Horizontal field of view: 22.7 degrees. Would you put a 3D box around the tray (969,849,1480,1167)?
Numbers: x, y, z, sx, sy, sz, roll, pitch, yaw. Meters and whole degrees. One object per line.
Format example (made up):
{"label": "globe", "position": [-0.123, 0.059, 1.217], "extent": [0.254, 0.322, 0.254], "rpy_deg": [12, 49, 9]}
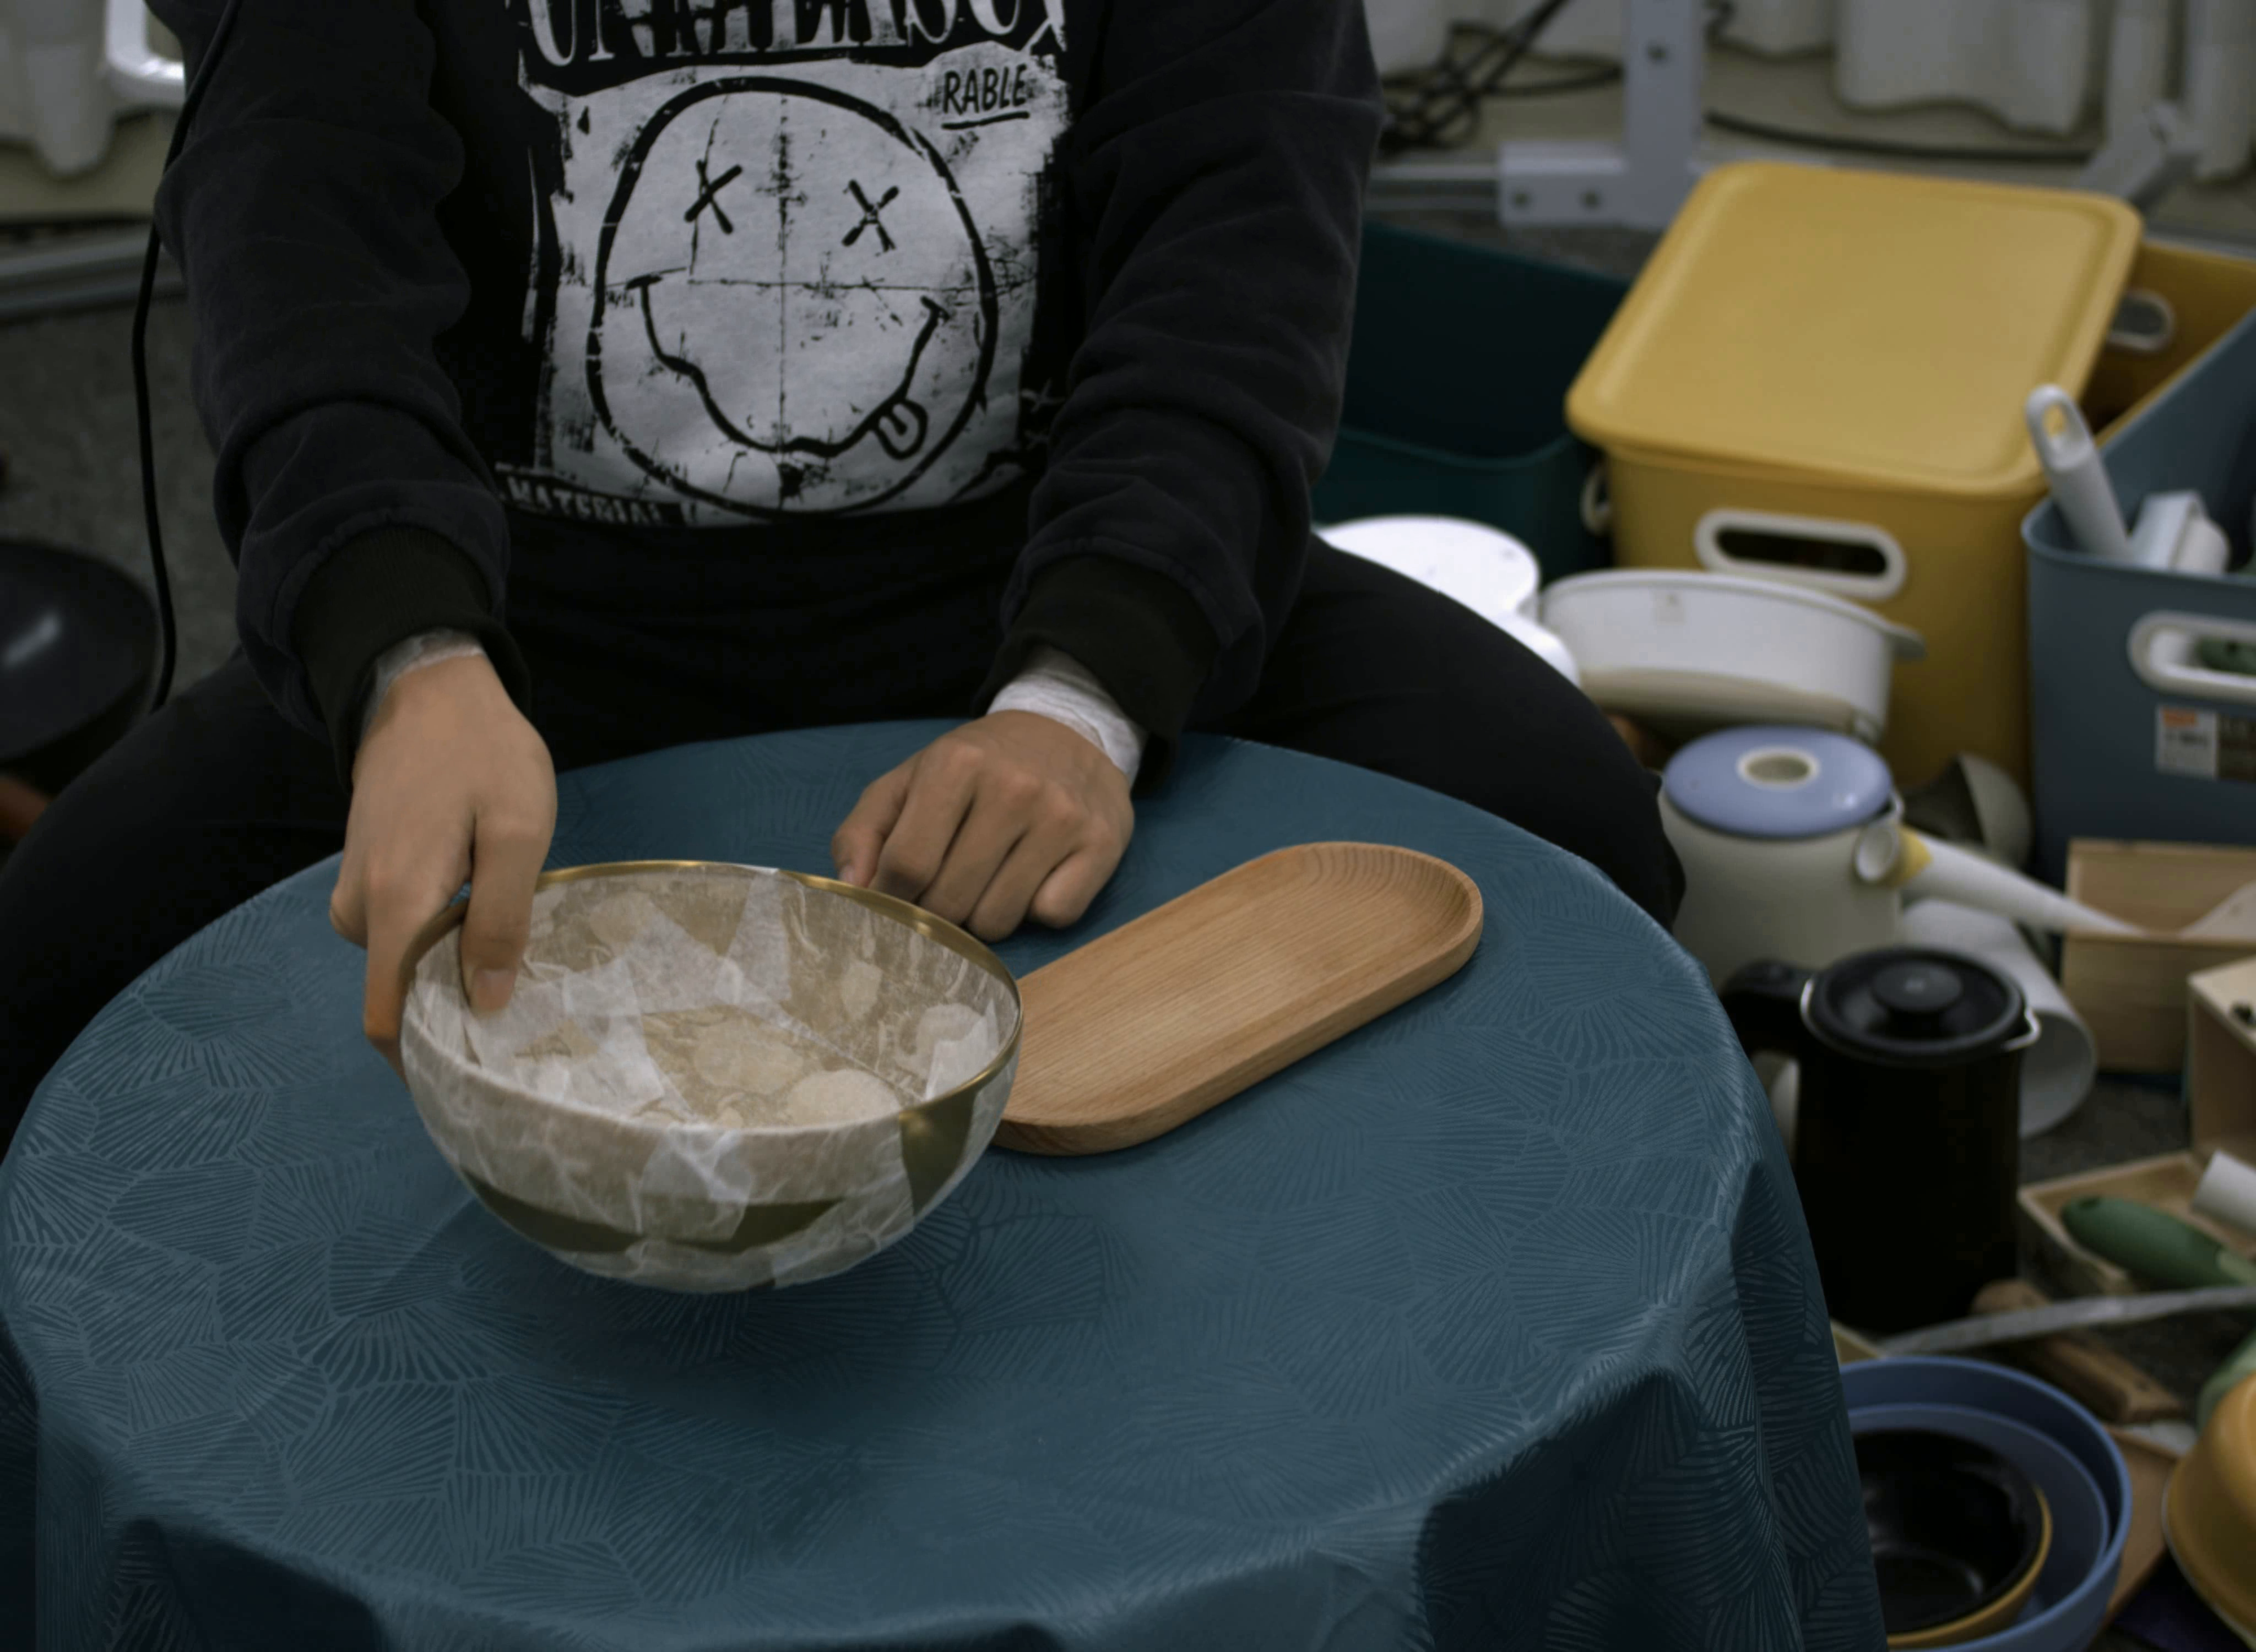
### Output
{"label": "tray", "position": [0.029, 0.062, 1.958], "extent": [0.101, 0.020, 0.234], "rpy_deg": [20, 37, 41]}

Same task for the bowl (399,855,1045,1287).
{"label": "bowl", "position": [-0.131, 0.089, 1.799], "extent": [0.214, 0.094, 0.217], "rpy_deg": [5, 21, -2]}
